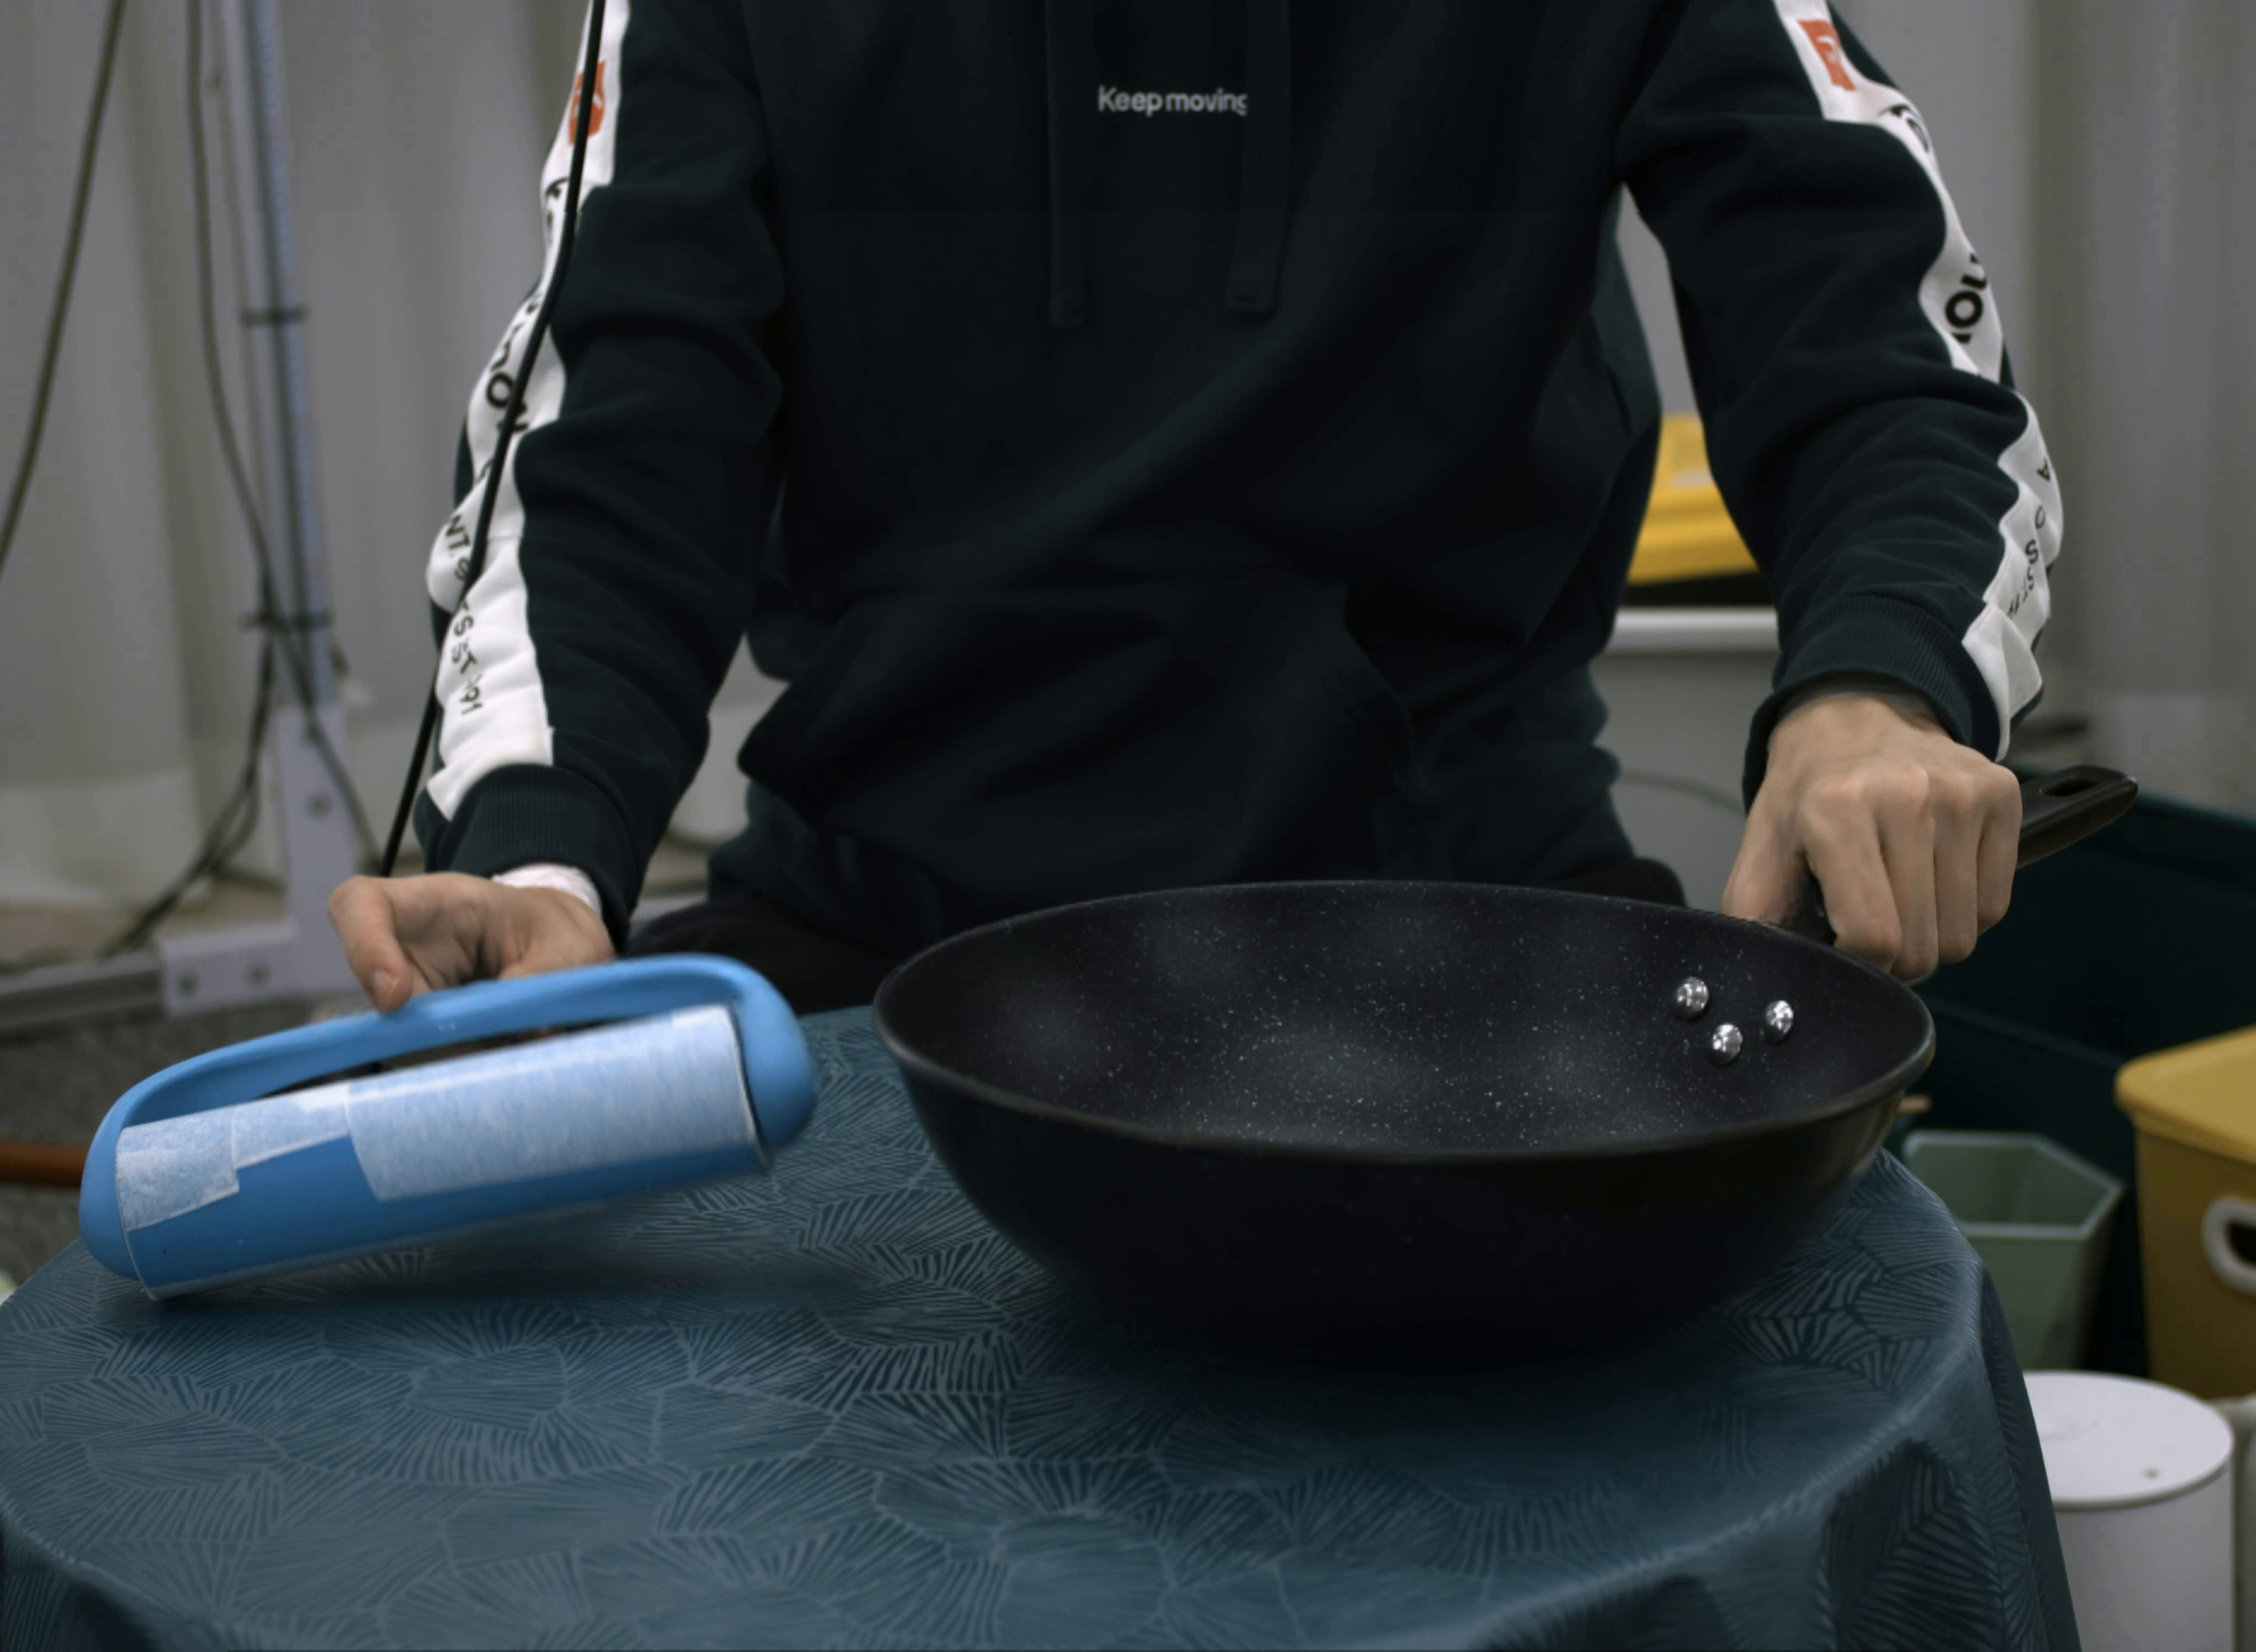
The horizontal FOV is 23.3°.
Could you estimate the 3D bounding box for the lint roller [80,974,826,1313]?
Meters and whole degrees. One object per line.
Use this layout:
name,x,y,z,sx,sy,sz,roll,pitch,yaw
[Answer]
lint roller,-0.207,0.086,1.704,0.228,0.067,0.181,-13,14,0

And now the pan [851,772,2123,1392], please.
pan,0.136,0.073,1.643,0.475,0.111,0.312,-11,19,-40
